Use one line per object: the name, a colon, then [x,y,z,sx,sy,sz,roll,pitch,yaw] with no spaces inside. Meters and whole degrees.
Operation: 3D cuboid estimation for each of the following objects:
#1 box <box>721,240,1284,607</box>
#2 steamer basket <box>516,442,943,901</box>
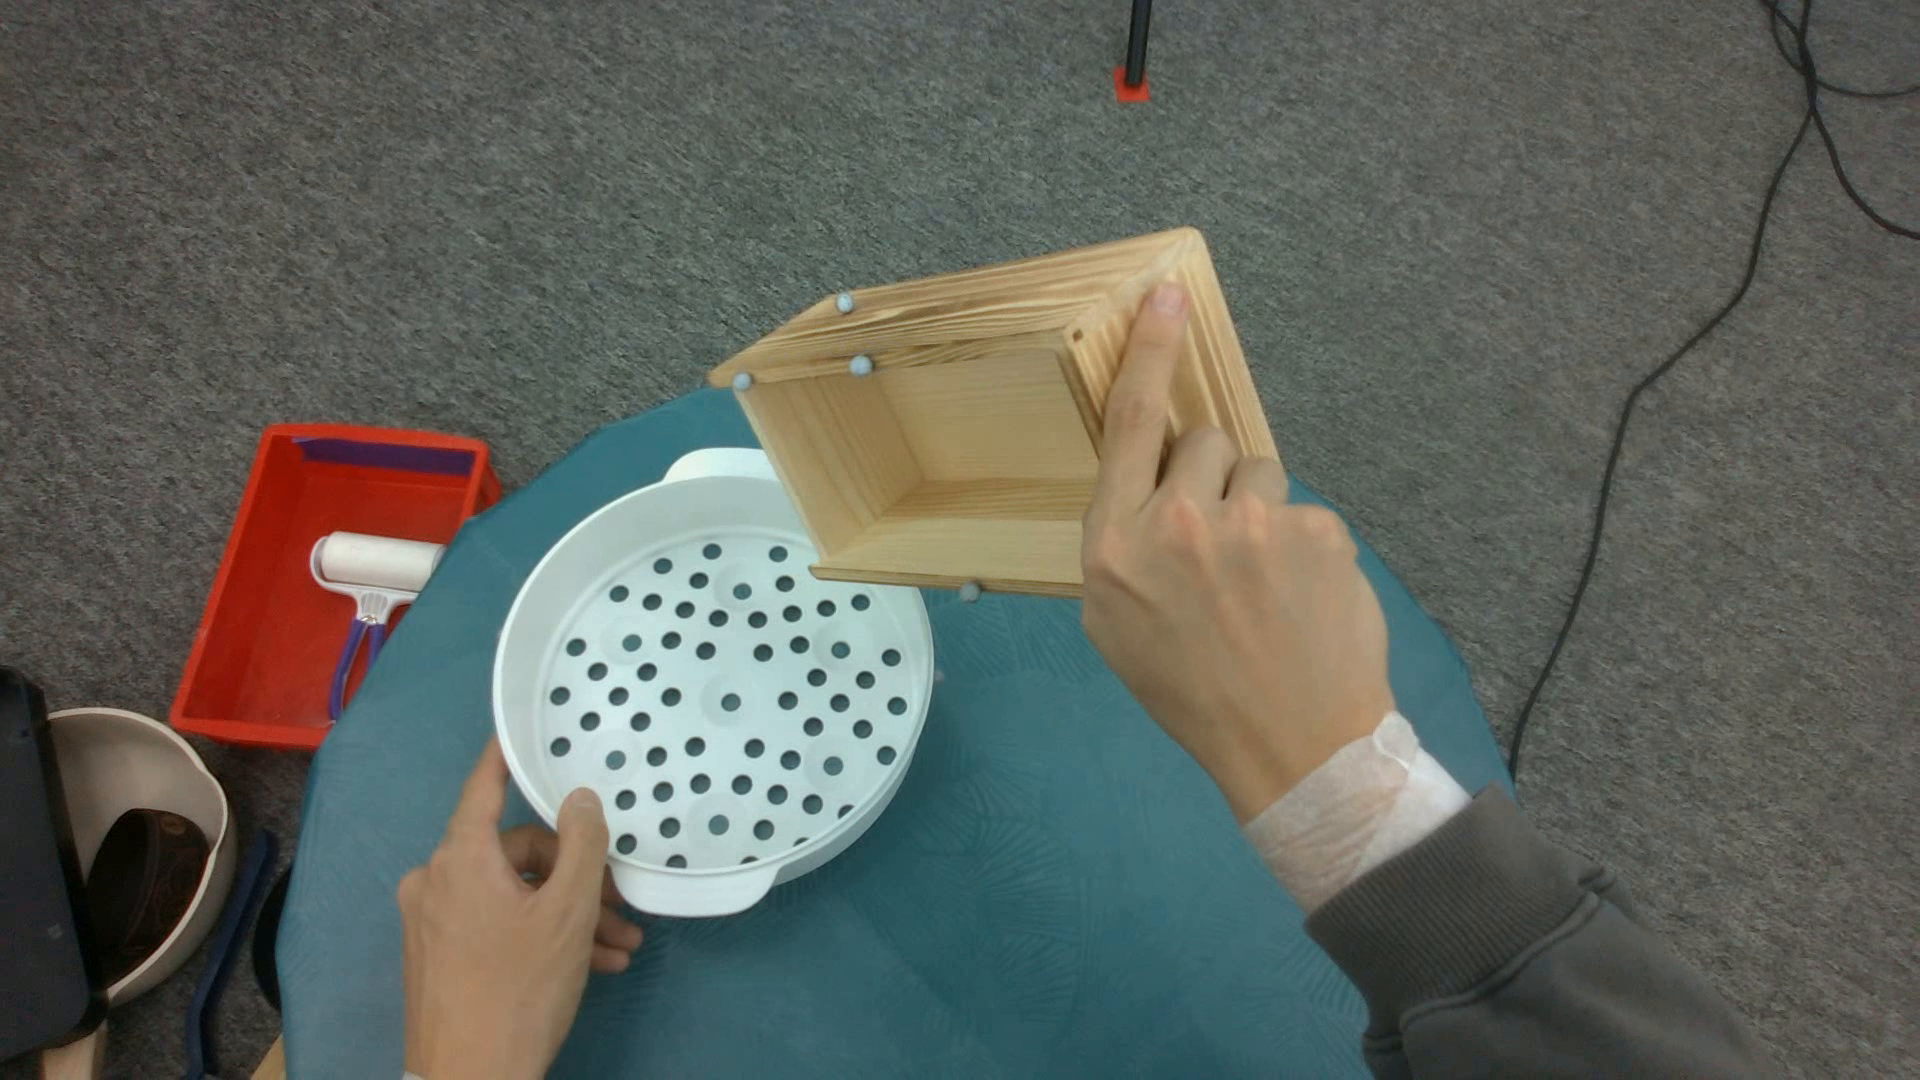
box: [0.010,-0.044,0.560,0.080,0.211,0.107,-41,116,-32]
steamer basket: [-0.110,0.066,0.681,0.202,0.069,0.231,2,65,-1]
